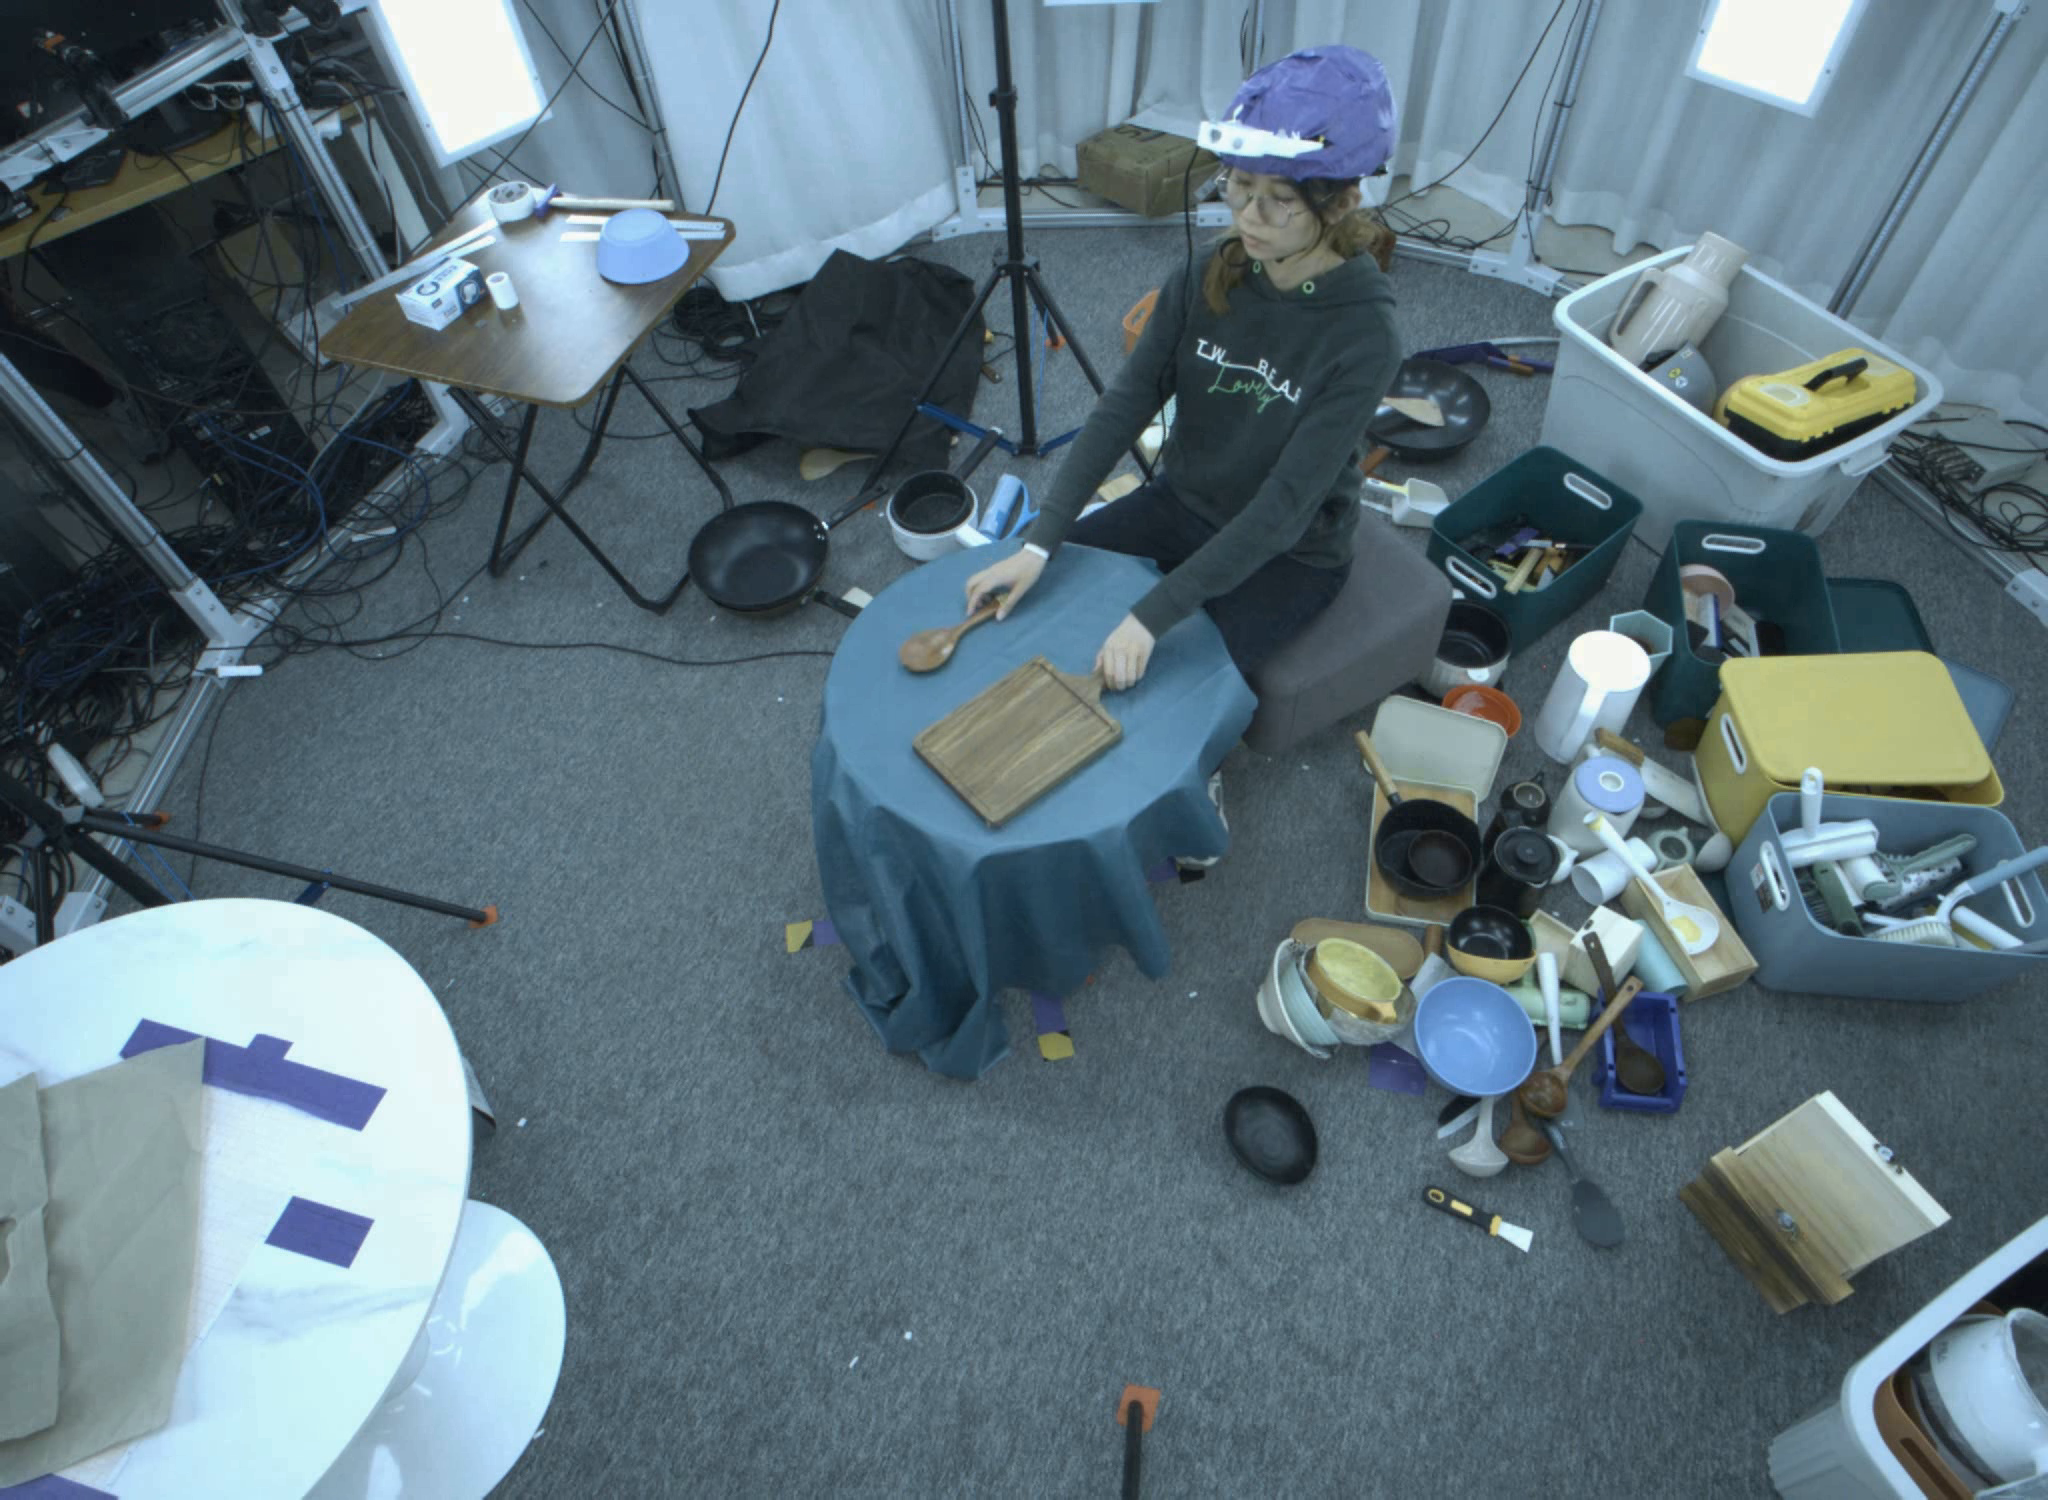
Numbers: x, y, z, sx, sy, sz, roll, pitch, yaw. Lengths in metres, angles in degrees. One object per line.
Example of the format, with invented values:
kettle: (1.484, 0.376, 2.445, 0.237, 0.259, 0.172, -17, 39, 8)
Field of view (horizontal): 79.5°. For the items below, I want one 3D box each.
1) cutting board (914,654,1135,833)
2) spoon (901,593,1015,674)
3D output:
cutting board: (0.031, -0.039, 1.813, 0.355, 0.023, 0.197, -35, 60, -21)
spoon: (-0.099, -0.182, 1.918, 0.217, 0.017, 0.074, -37, 60, -21)
